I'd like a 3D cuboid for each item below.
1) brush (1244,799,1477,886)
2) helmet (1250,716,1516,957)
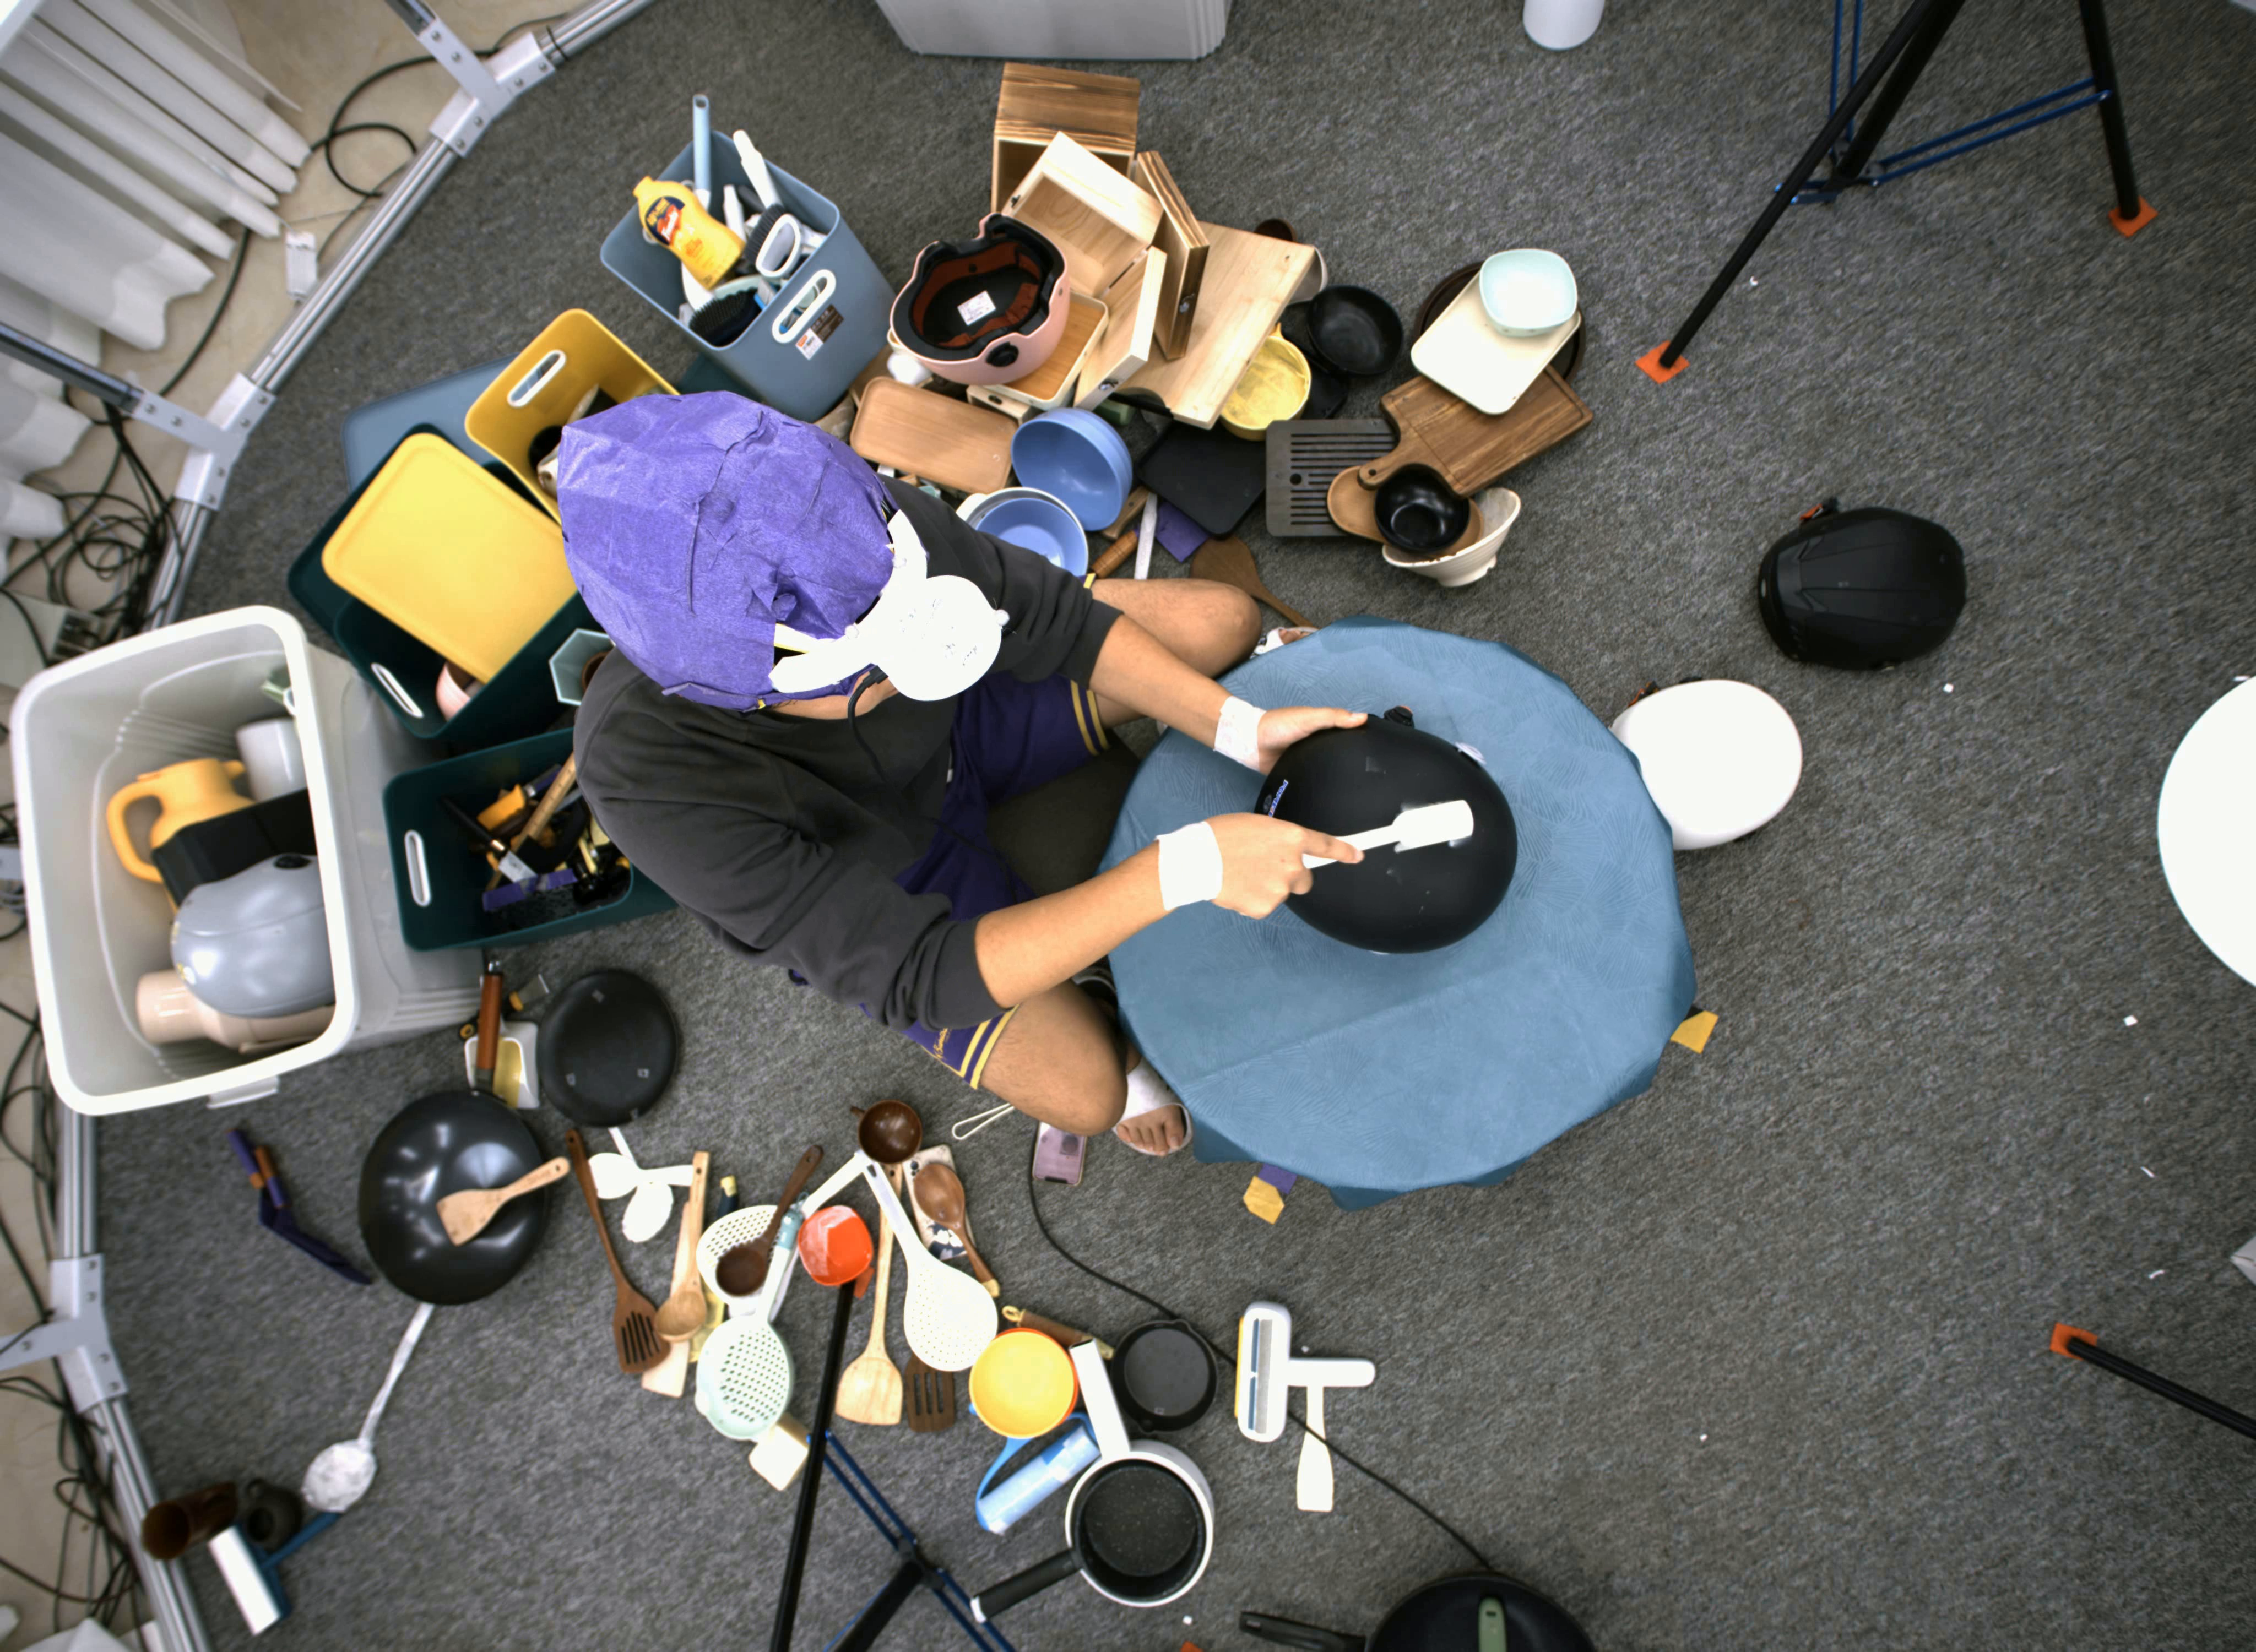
[{"bbox_3d":[0.201,0.014,1.208,0.242,0.050,0.034,-14,93,-20],"label":"brush"},{"bbox_3d":[0.259,0.023,1.342,0.273,0.164,0.233,23,108,-10],"label":"helmet"}]
